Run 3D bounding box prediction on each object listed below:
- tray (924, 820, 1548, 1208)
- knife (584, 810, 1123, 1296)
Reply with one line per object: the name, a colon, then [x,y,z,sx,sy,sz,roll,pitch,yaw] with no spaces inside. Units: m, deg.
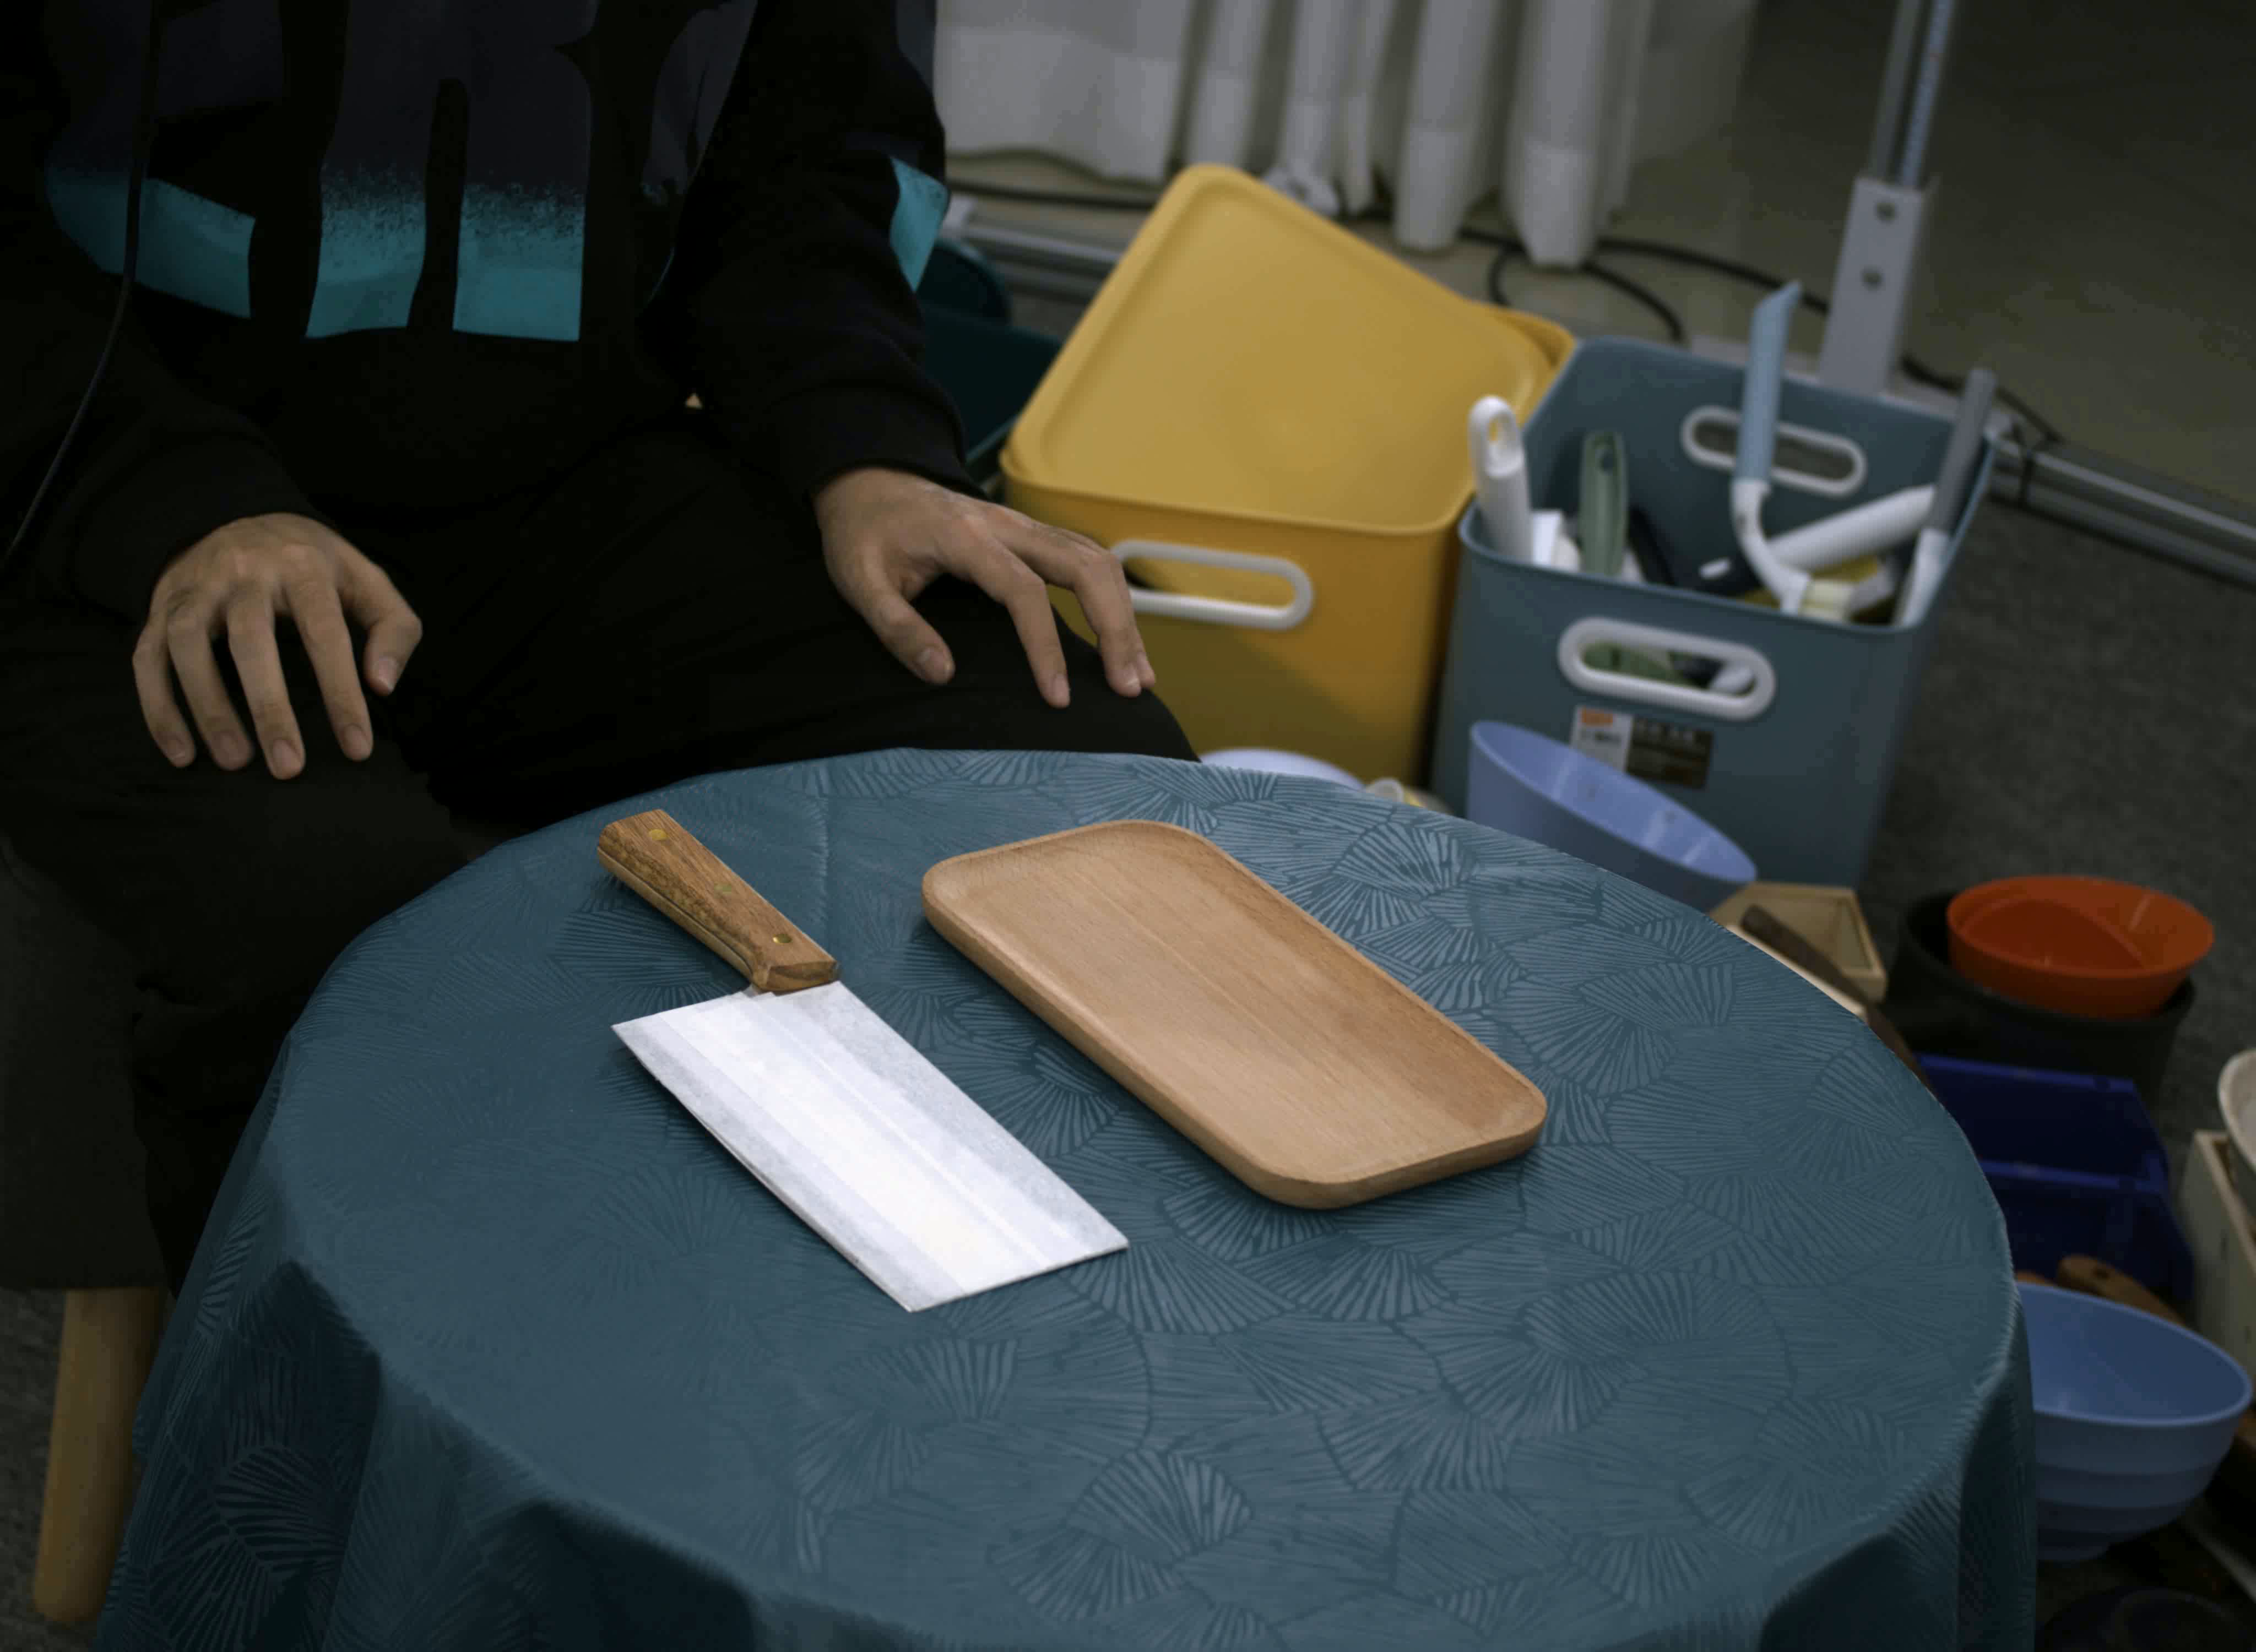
tray: [0.035,0.065,1.908,0.130,0.023,0.253,-10,30,-33]
knife: [-0.121,0.078,1.848,0.092,0.021,0.308,-14,36,-33]
